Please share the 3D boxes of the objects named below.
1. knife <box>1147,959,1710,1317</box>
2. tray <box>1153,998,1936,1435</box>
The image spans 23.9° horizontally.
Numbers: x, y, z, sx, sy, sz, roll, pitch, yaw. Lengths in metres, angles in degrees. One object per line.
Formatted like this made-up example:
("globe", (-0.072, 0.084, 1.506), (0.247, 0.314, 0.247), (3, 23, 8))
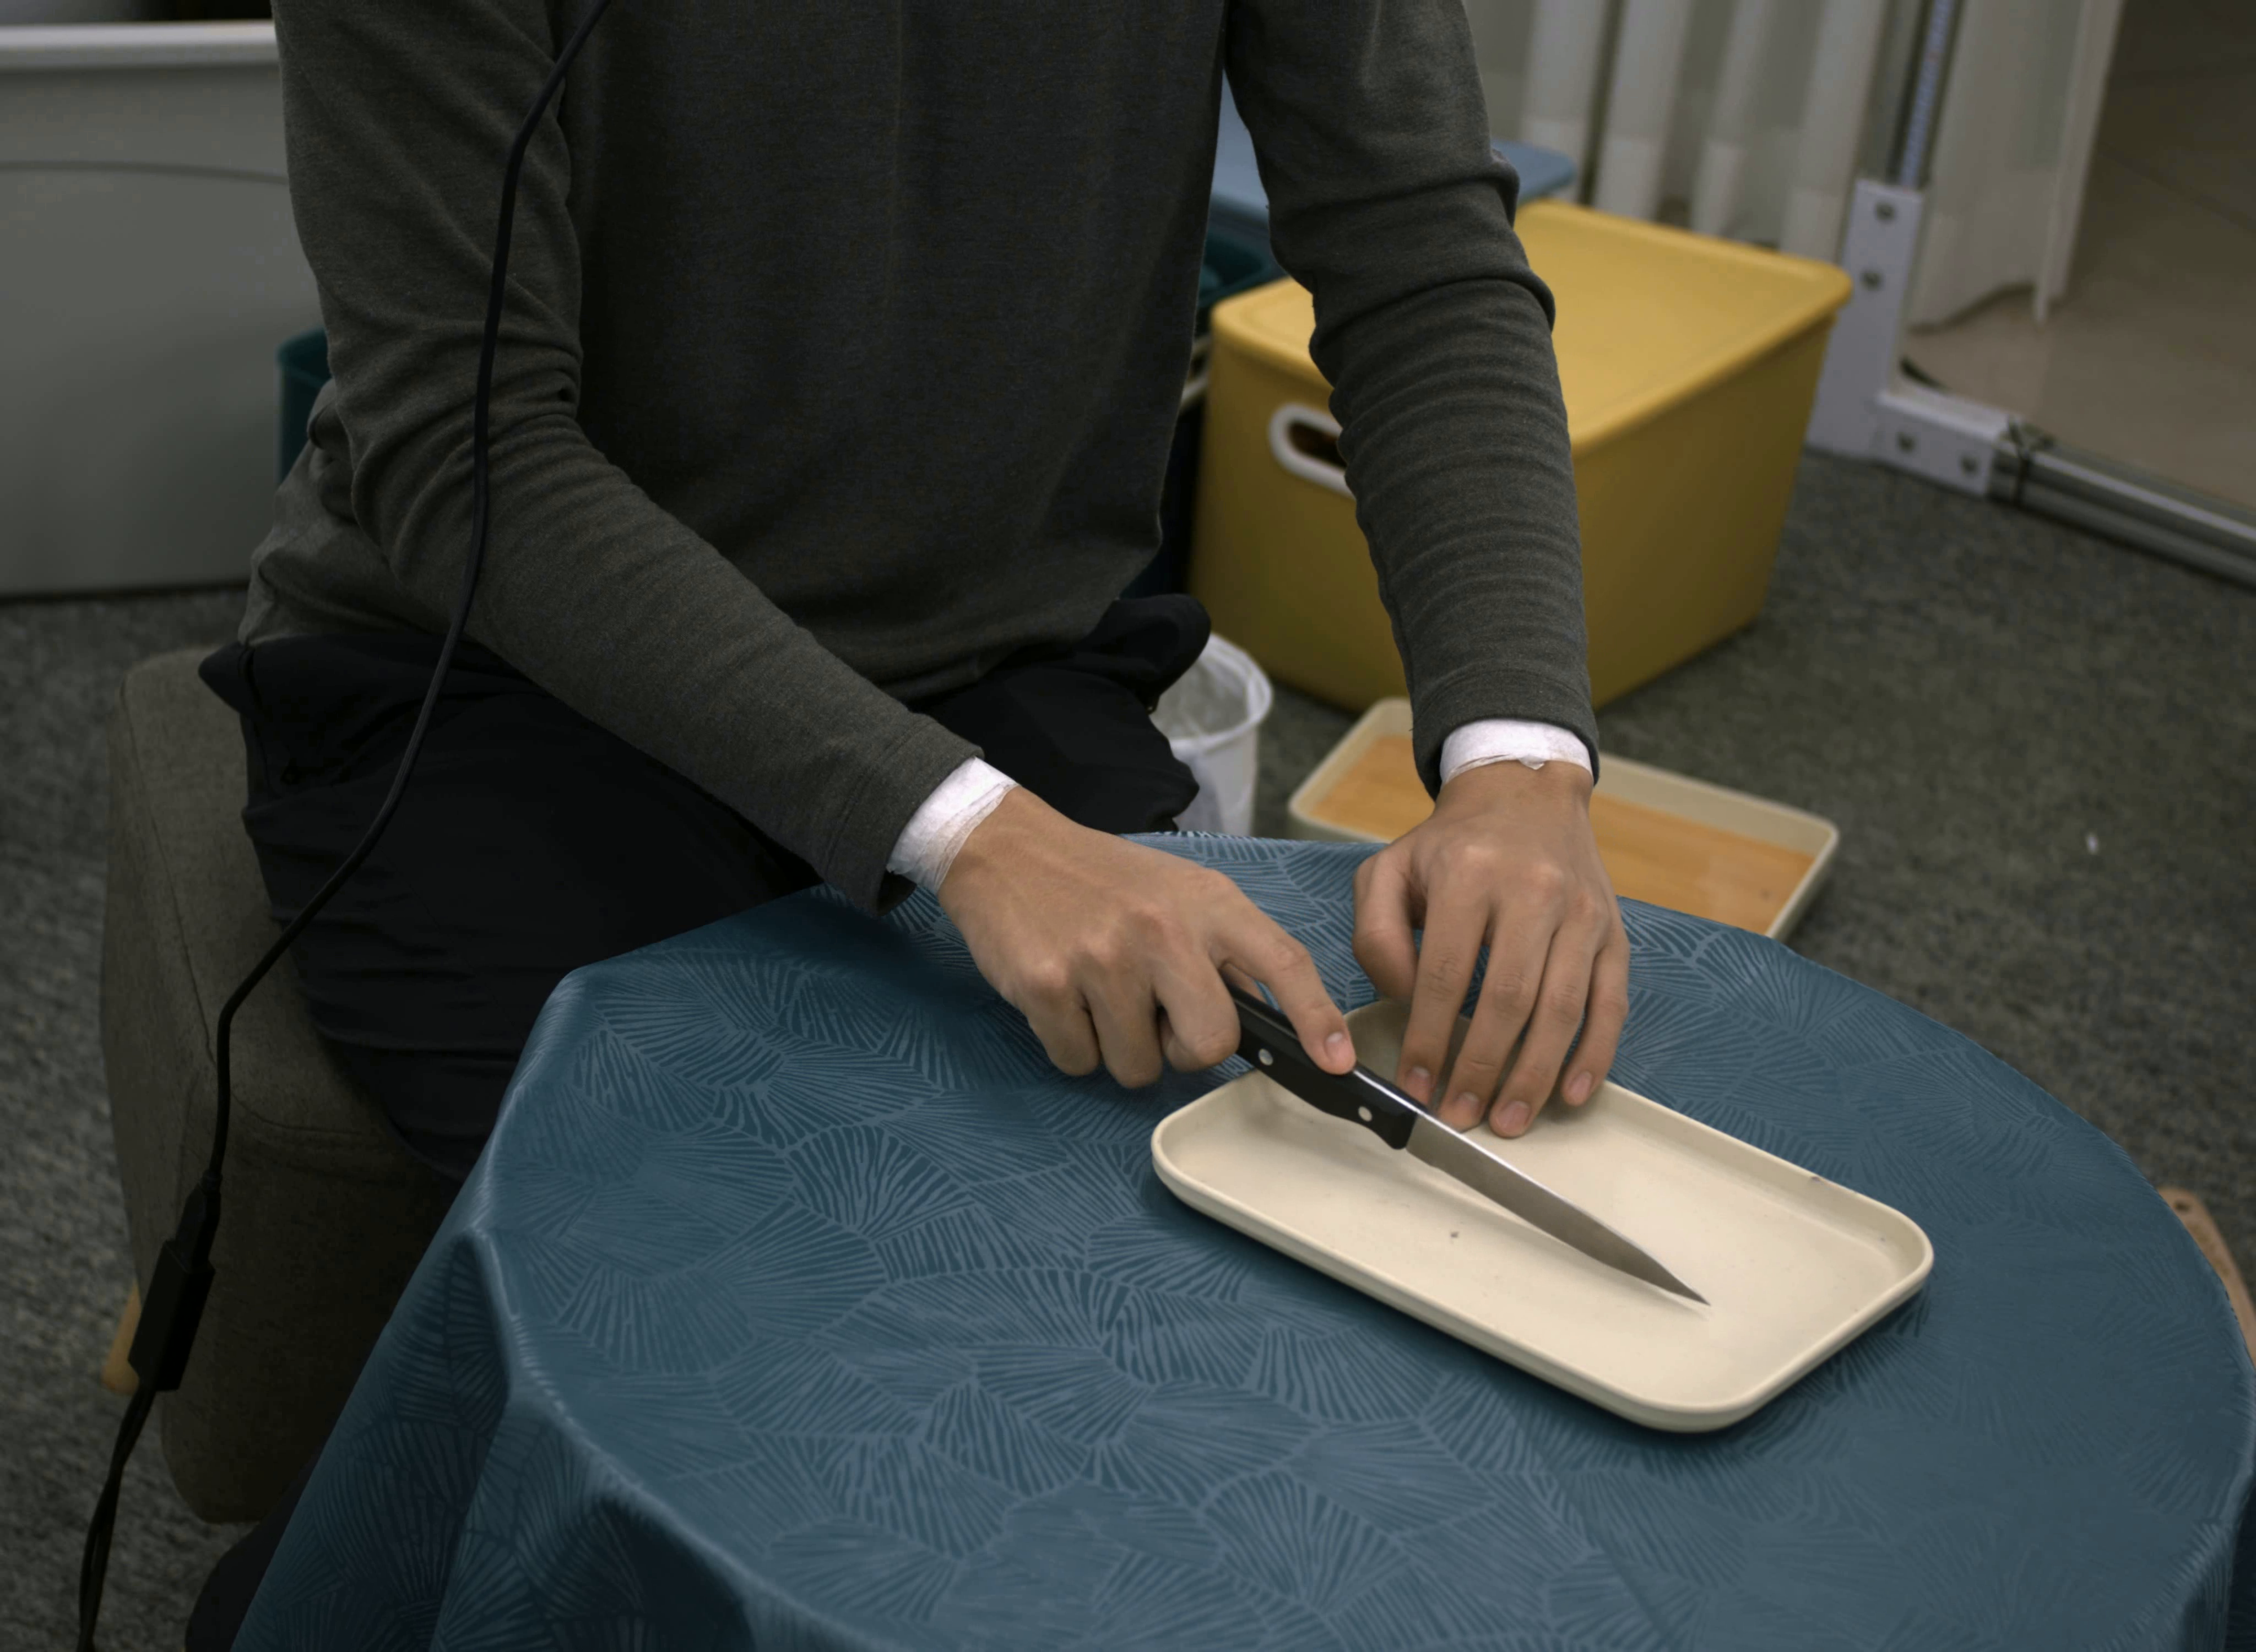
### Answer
("knife", (0.101, 0.105, 1.816), (0.239, 0.024, 0.016), (31, 49, 26))
("tray", (0.140, 0.131, 1.804), (0.241, 0.017, 0.170), (25, 33, 32))
